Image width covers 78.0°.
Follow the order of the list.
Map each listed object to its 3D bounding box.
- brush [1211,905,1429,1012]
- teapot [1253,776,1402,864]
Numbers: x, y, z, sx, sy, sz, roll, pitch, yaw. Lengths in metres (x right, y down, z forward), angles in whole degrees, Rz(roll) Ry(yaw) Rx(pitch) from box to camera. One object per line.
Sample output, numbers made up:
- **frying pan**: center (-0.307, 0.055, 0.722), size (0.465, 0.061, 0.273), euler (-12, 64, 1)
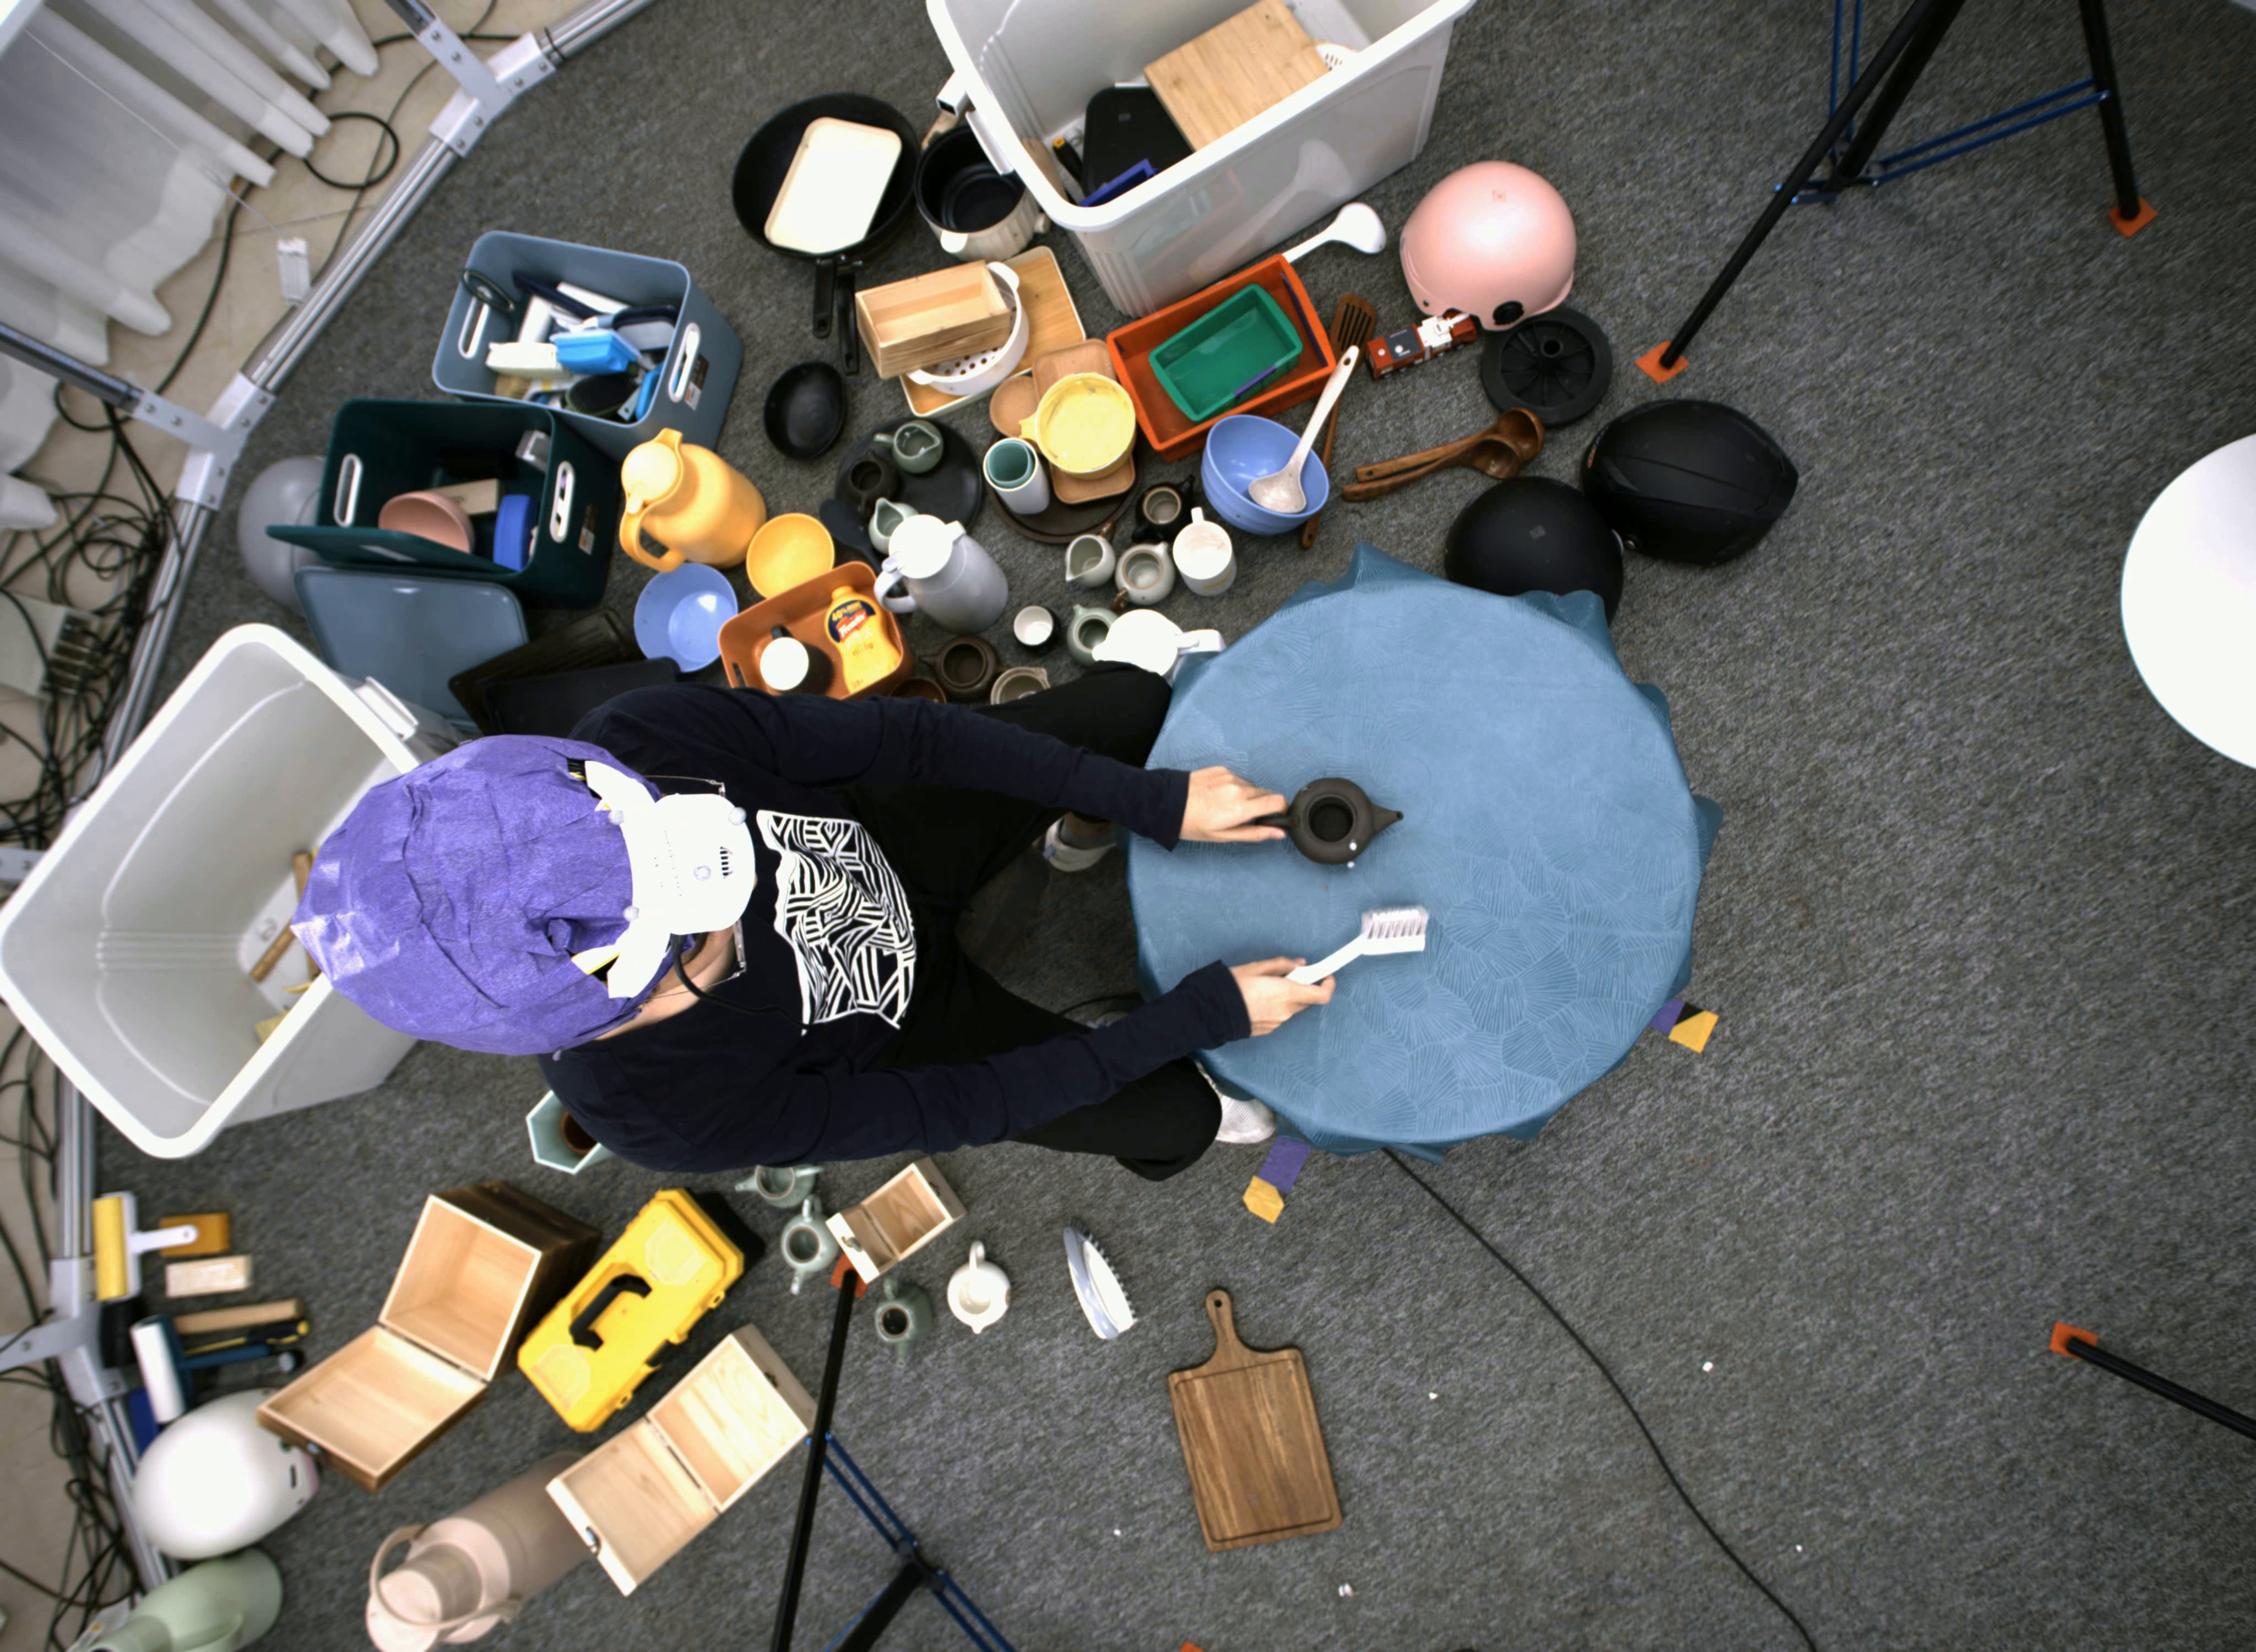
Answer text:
- **brush**: center (0.194, 0.133, 1.429), size (0.245, 0.033, 0.051), euler (-20, 118, 7)
- **teapot**: center (0.208, -0.007, 1.443), size (0.155, 0.064, 0.092), euler (-1, 87, 11)
